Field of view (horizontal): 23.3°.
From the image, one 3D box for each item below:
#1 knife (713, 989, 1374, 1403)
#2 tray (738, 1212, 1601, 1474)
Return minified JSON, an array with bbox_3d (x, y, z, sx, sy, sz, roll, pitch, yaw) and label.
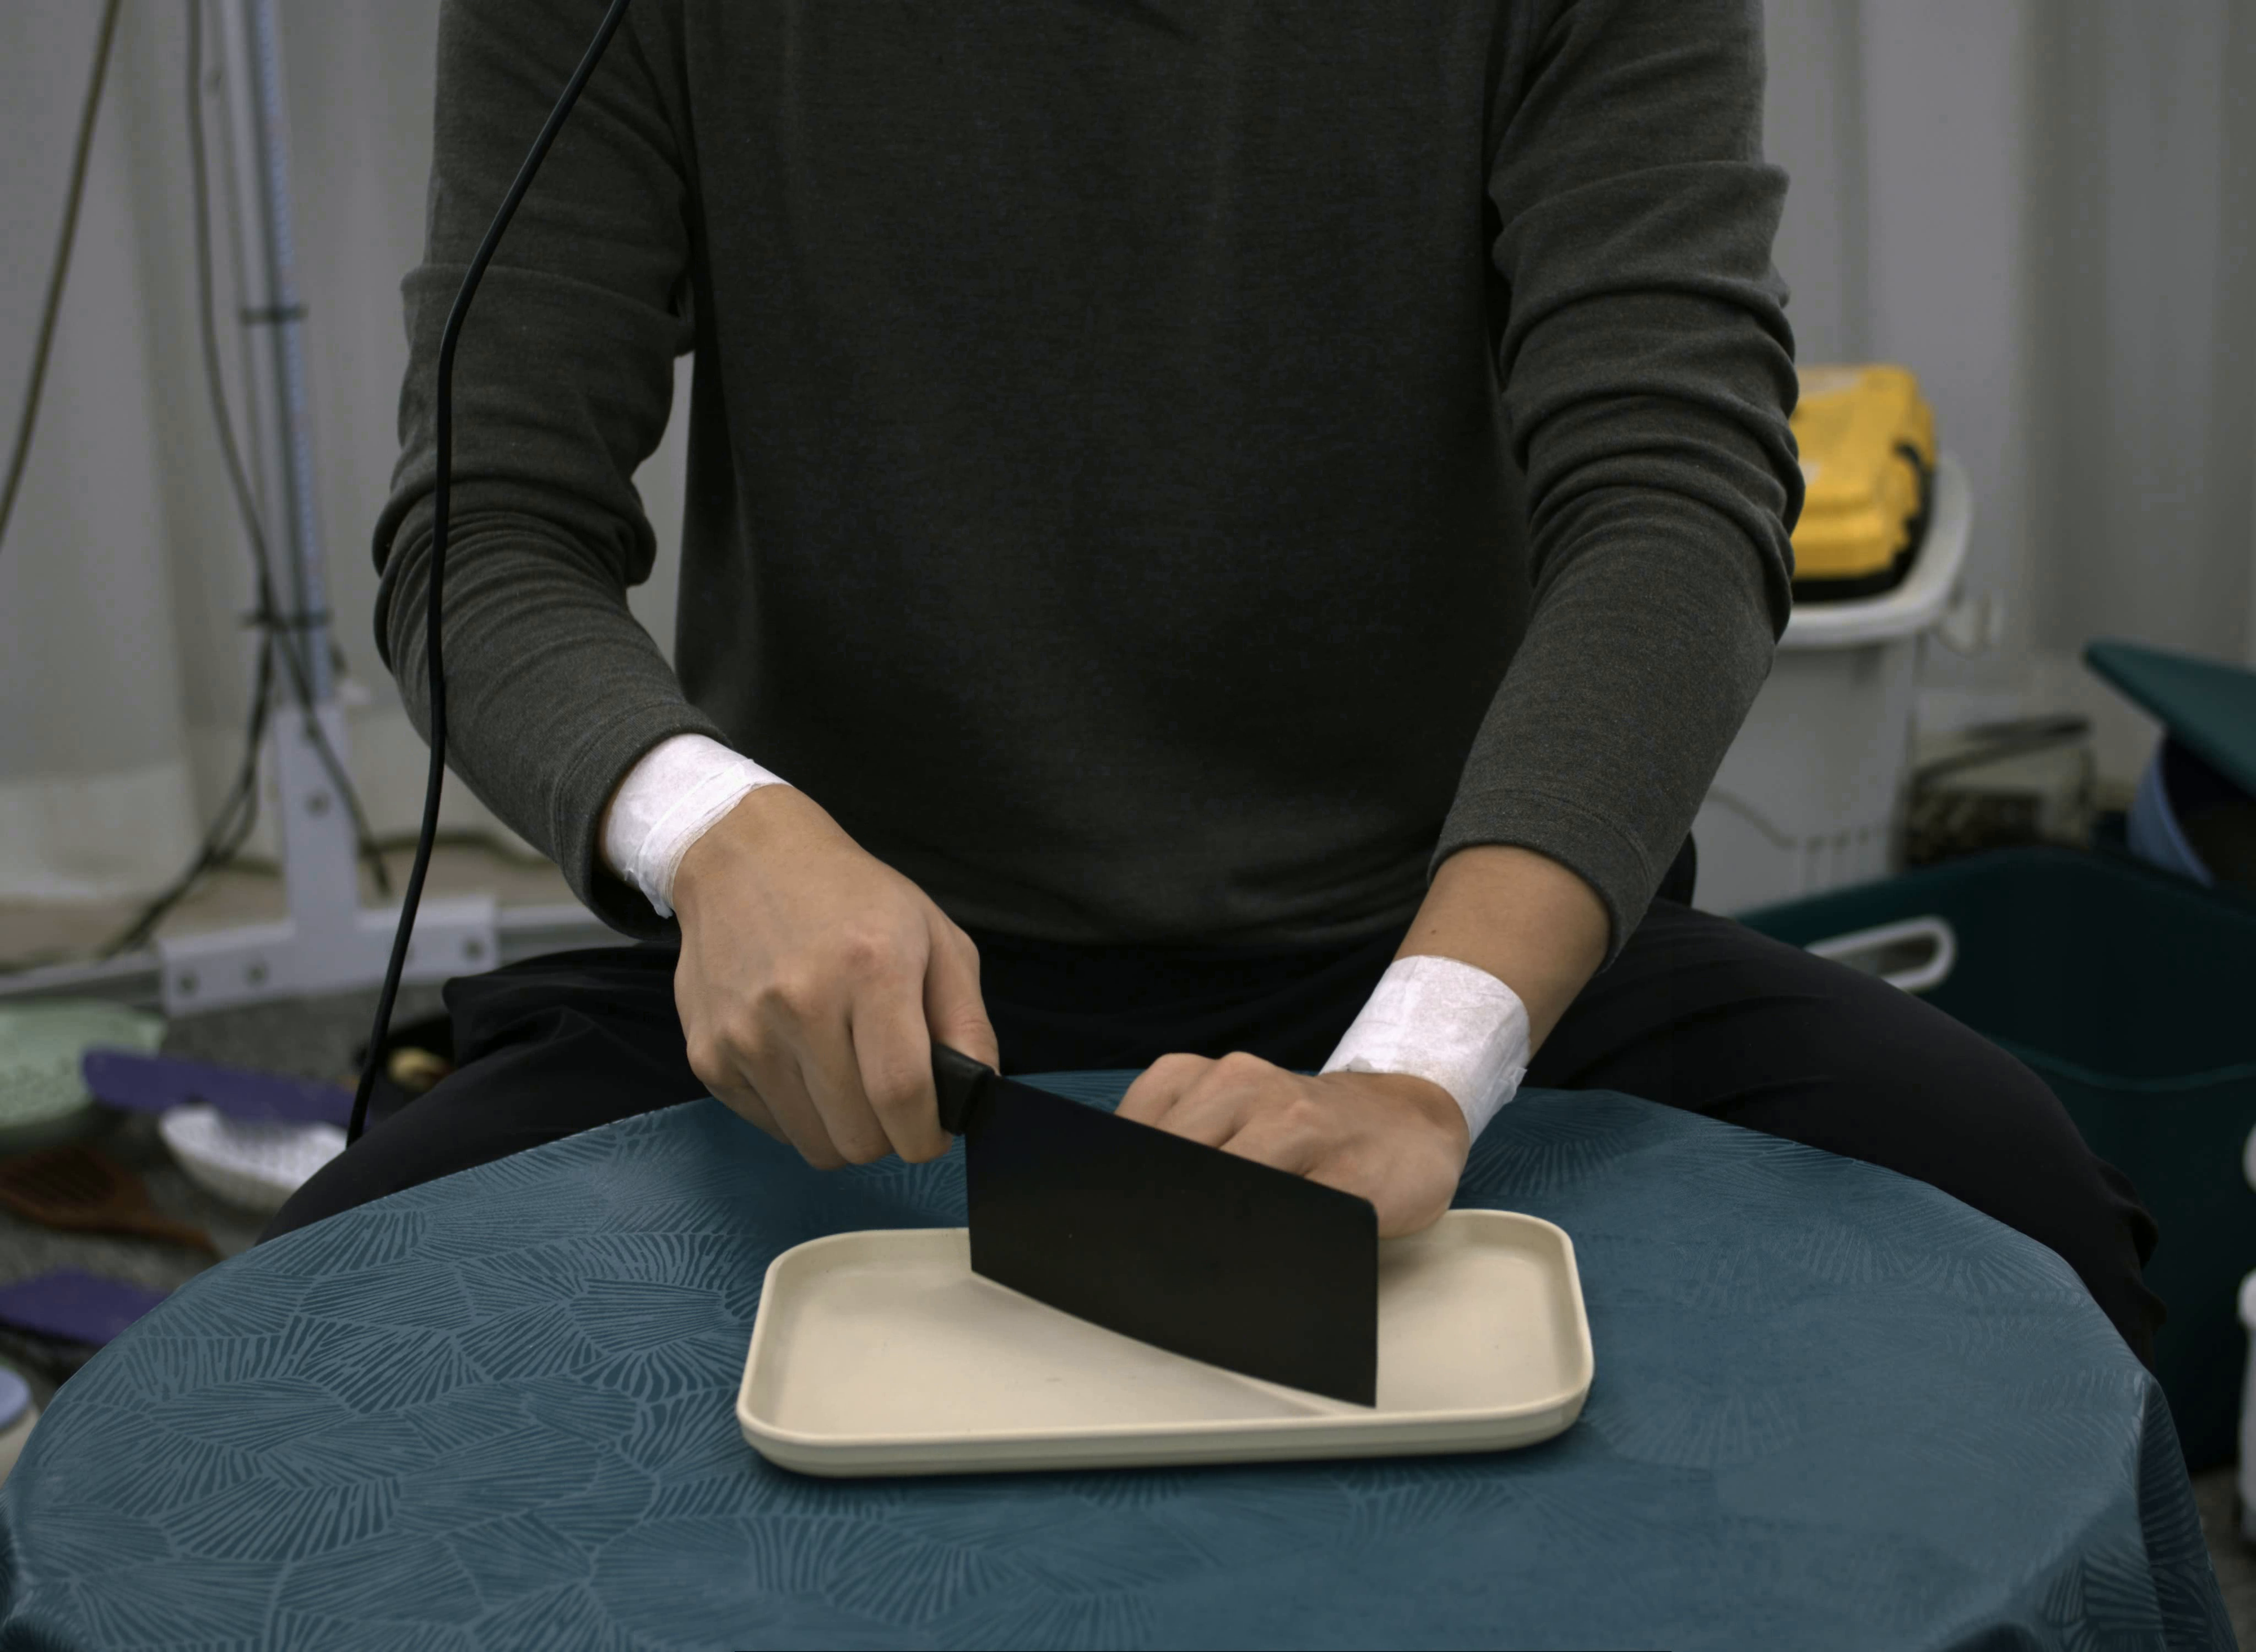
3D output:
[{"bbox_3d":[-0.028,0.102,1.604,0.021,0.080,0.305,-11,21,-38],"label":"knife"},{"bbox_3d":[0.012,0.148,1.557,0.239,0.017,0.172,-3,14,2],"label":"tray"}]
